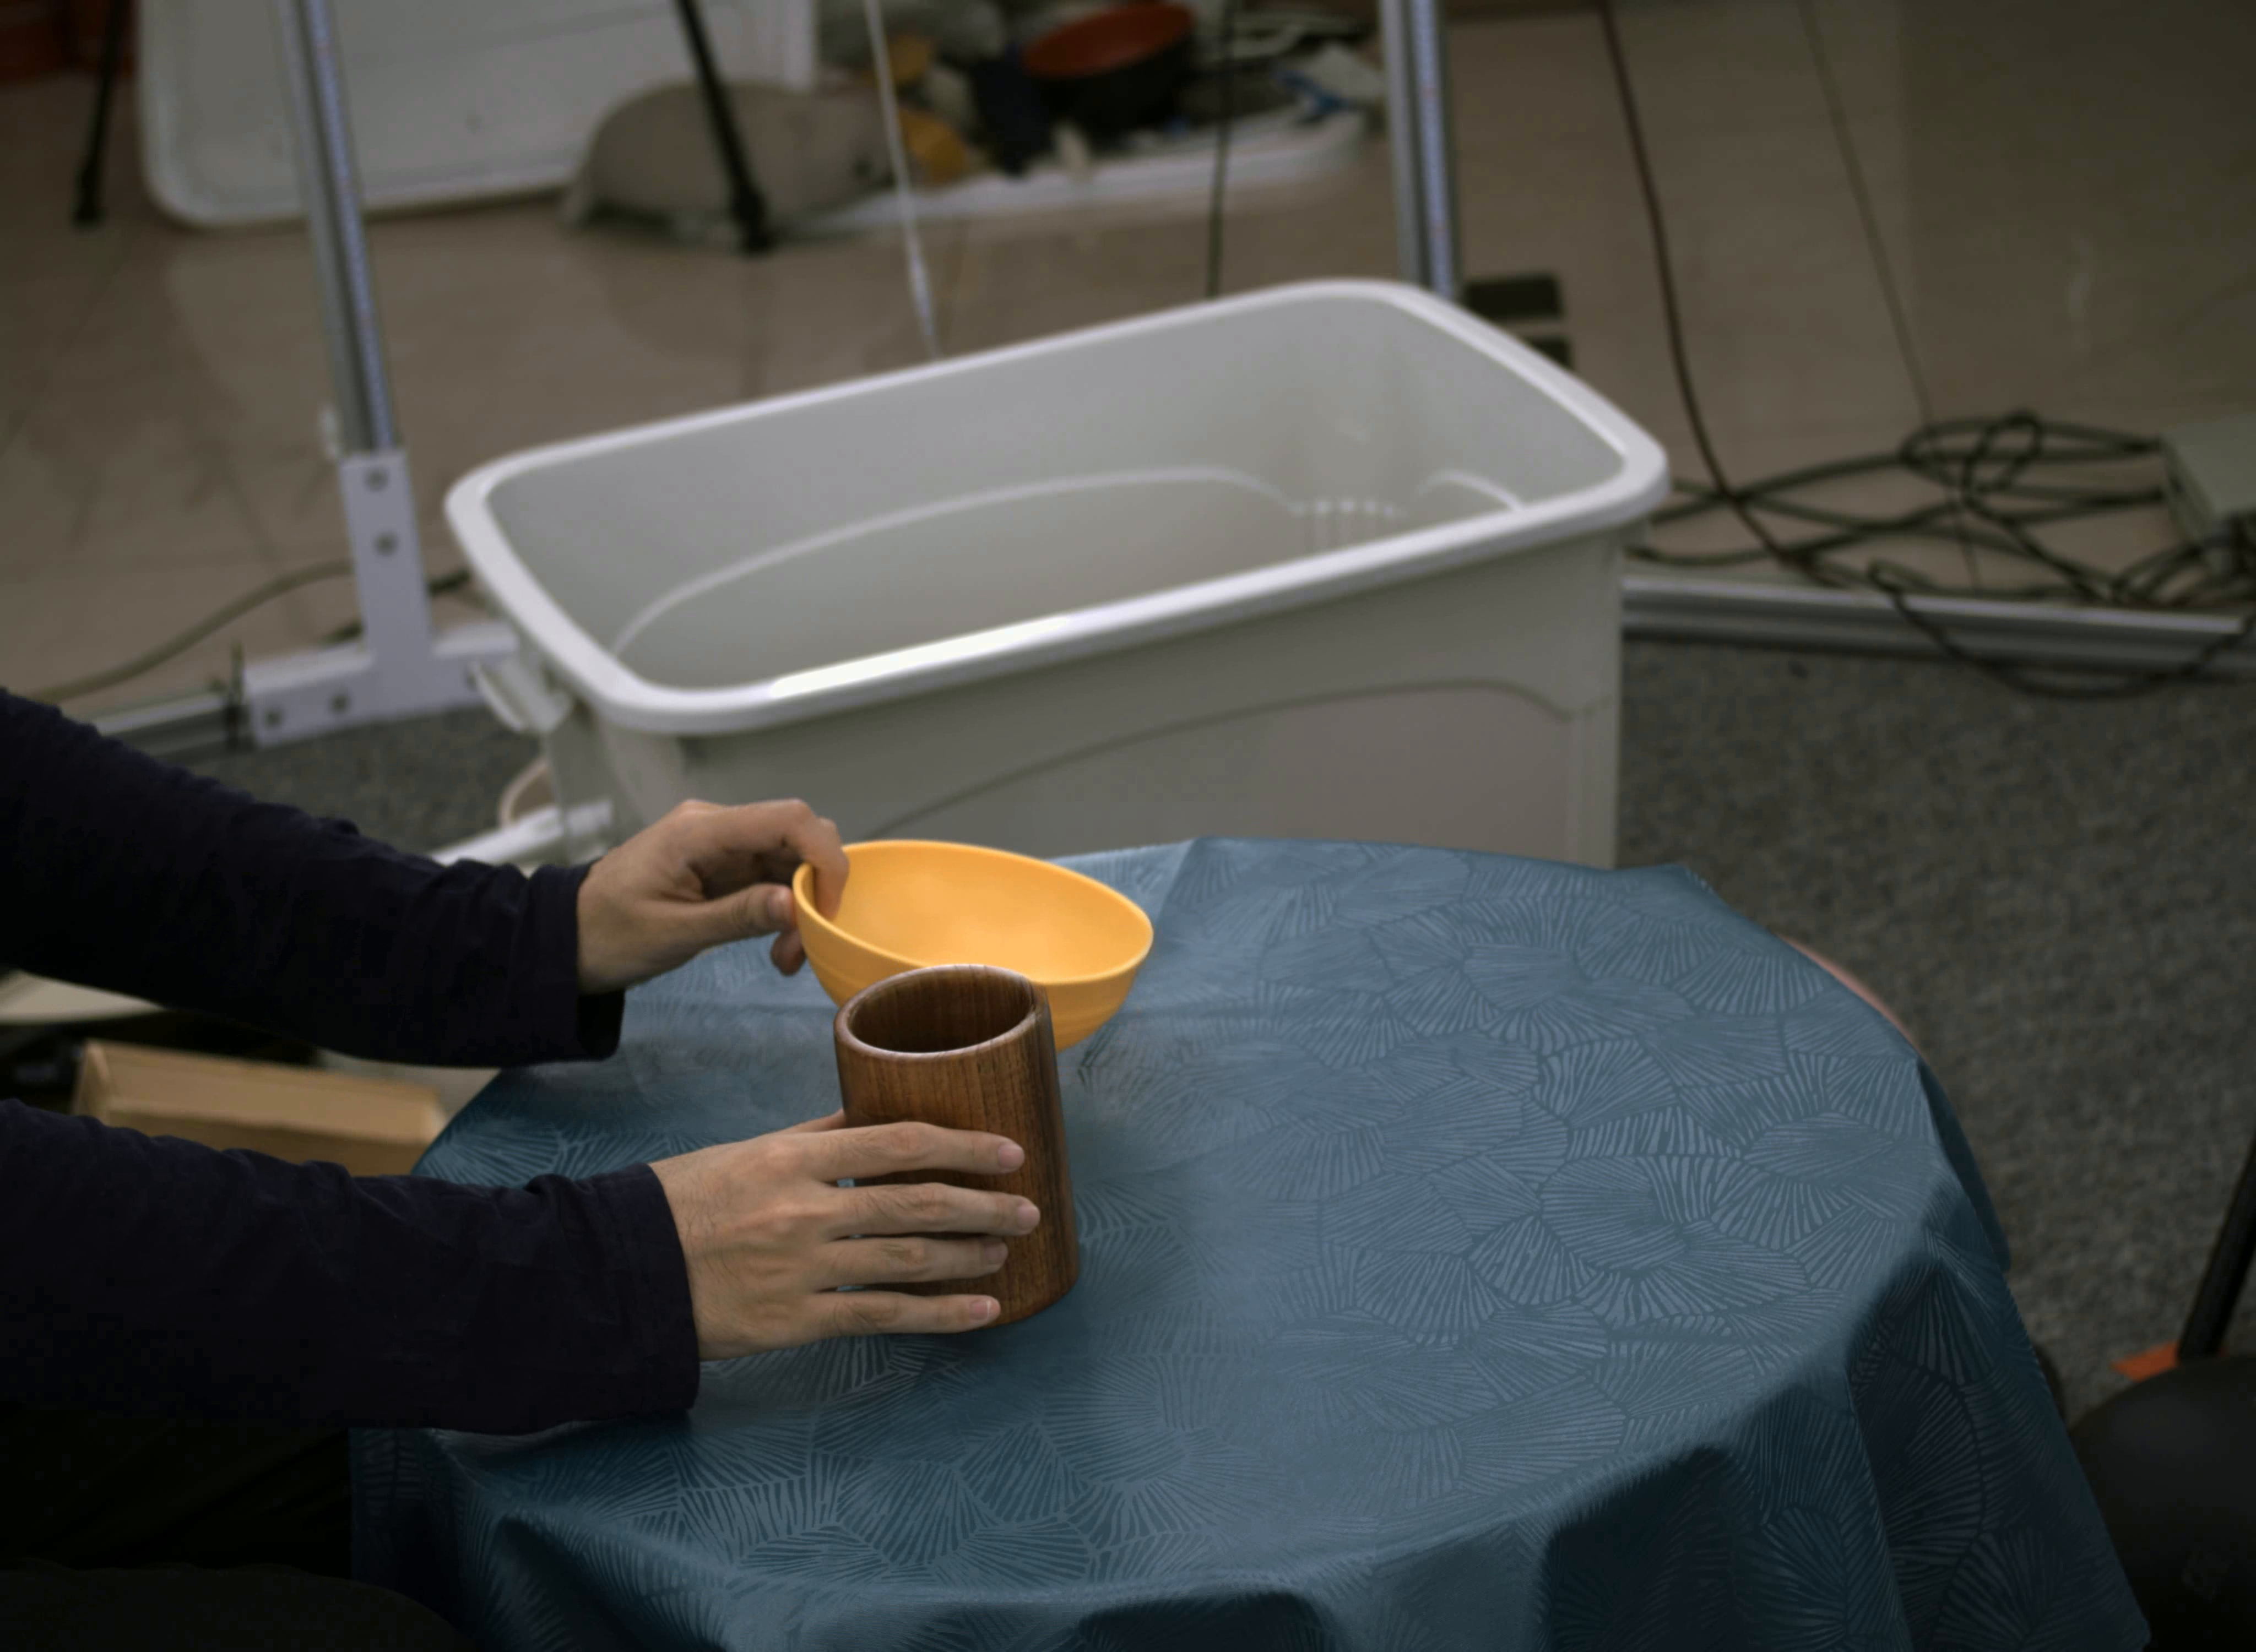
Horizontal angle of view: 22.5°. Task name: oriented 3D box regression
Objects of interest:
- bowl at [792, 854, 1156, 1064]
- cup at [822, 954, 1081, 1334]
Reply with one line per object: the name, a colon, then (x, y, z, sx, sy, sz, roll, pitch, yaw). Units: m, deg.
bowl: (-0.064, 0.062, 2.213, 0.145, 0.061, 0.143, 8, 19, -3)
cup: (-0.063, 0.116, 2.071, 0.087, 0.120, 0.086, -6, 22, 2)
